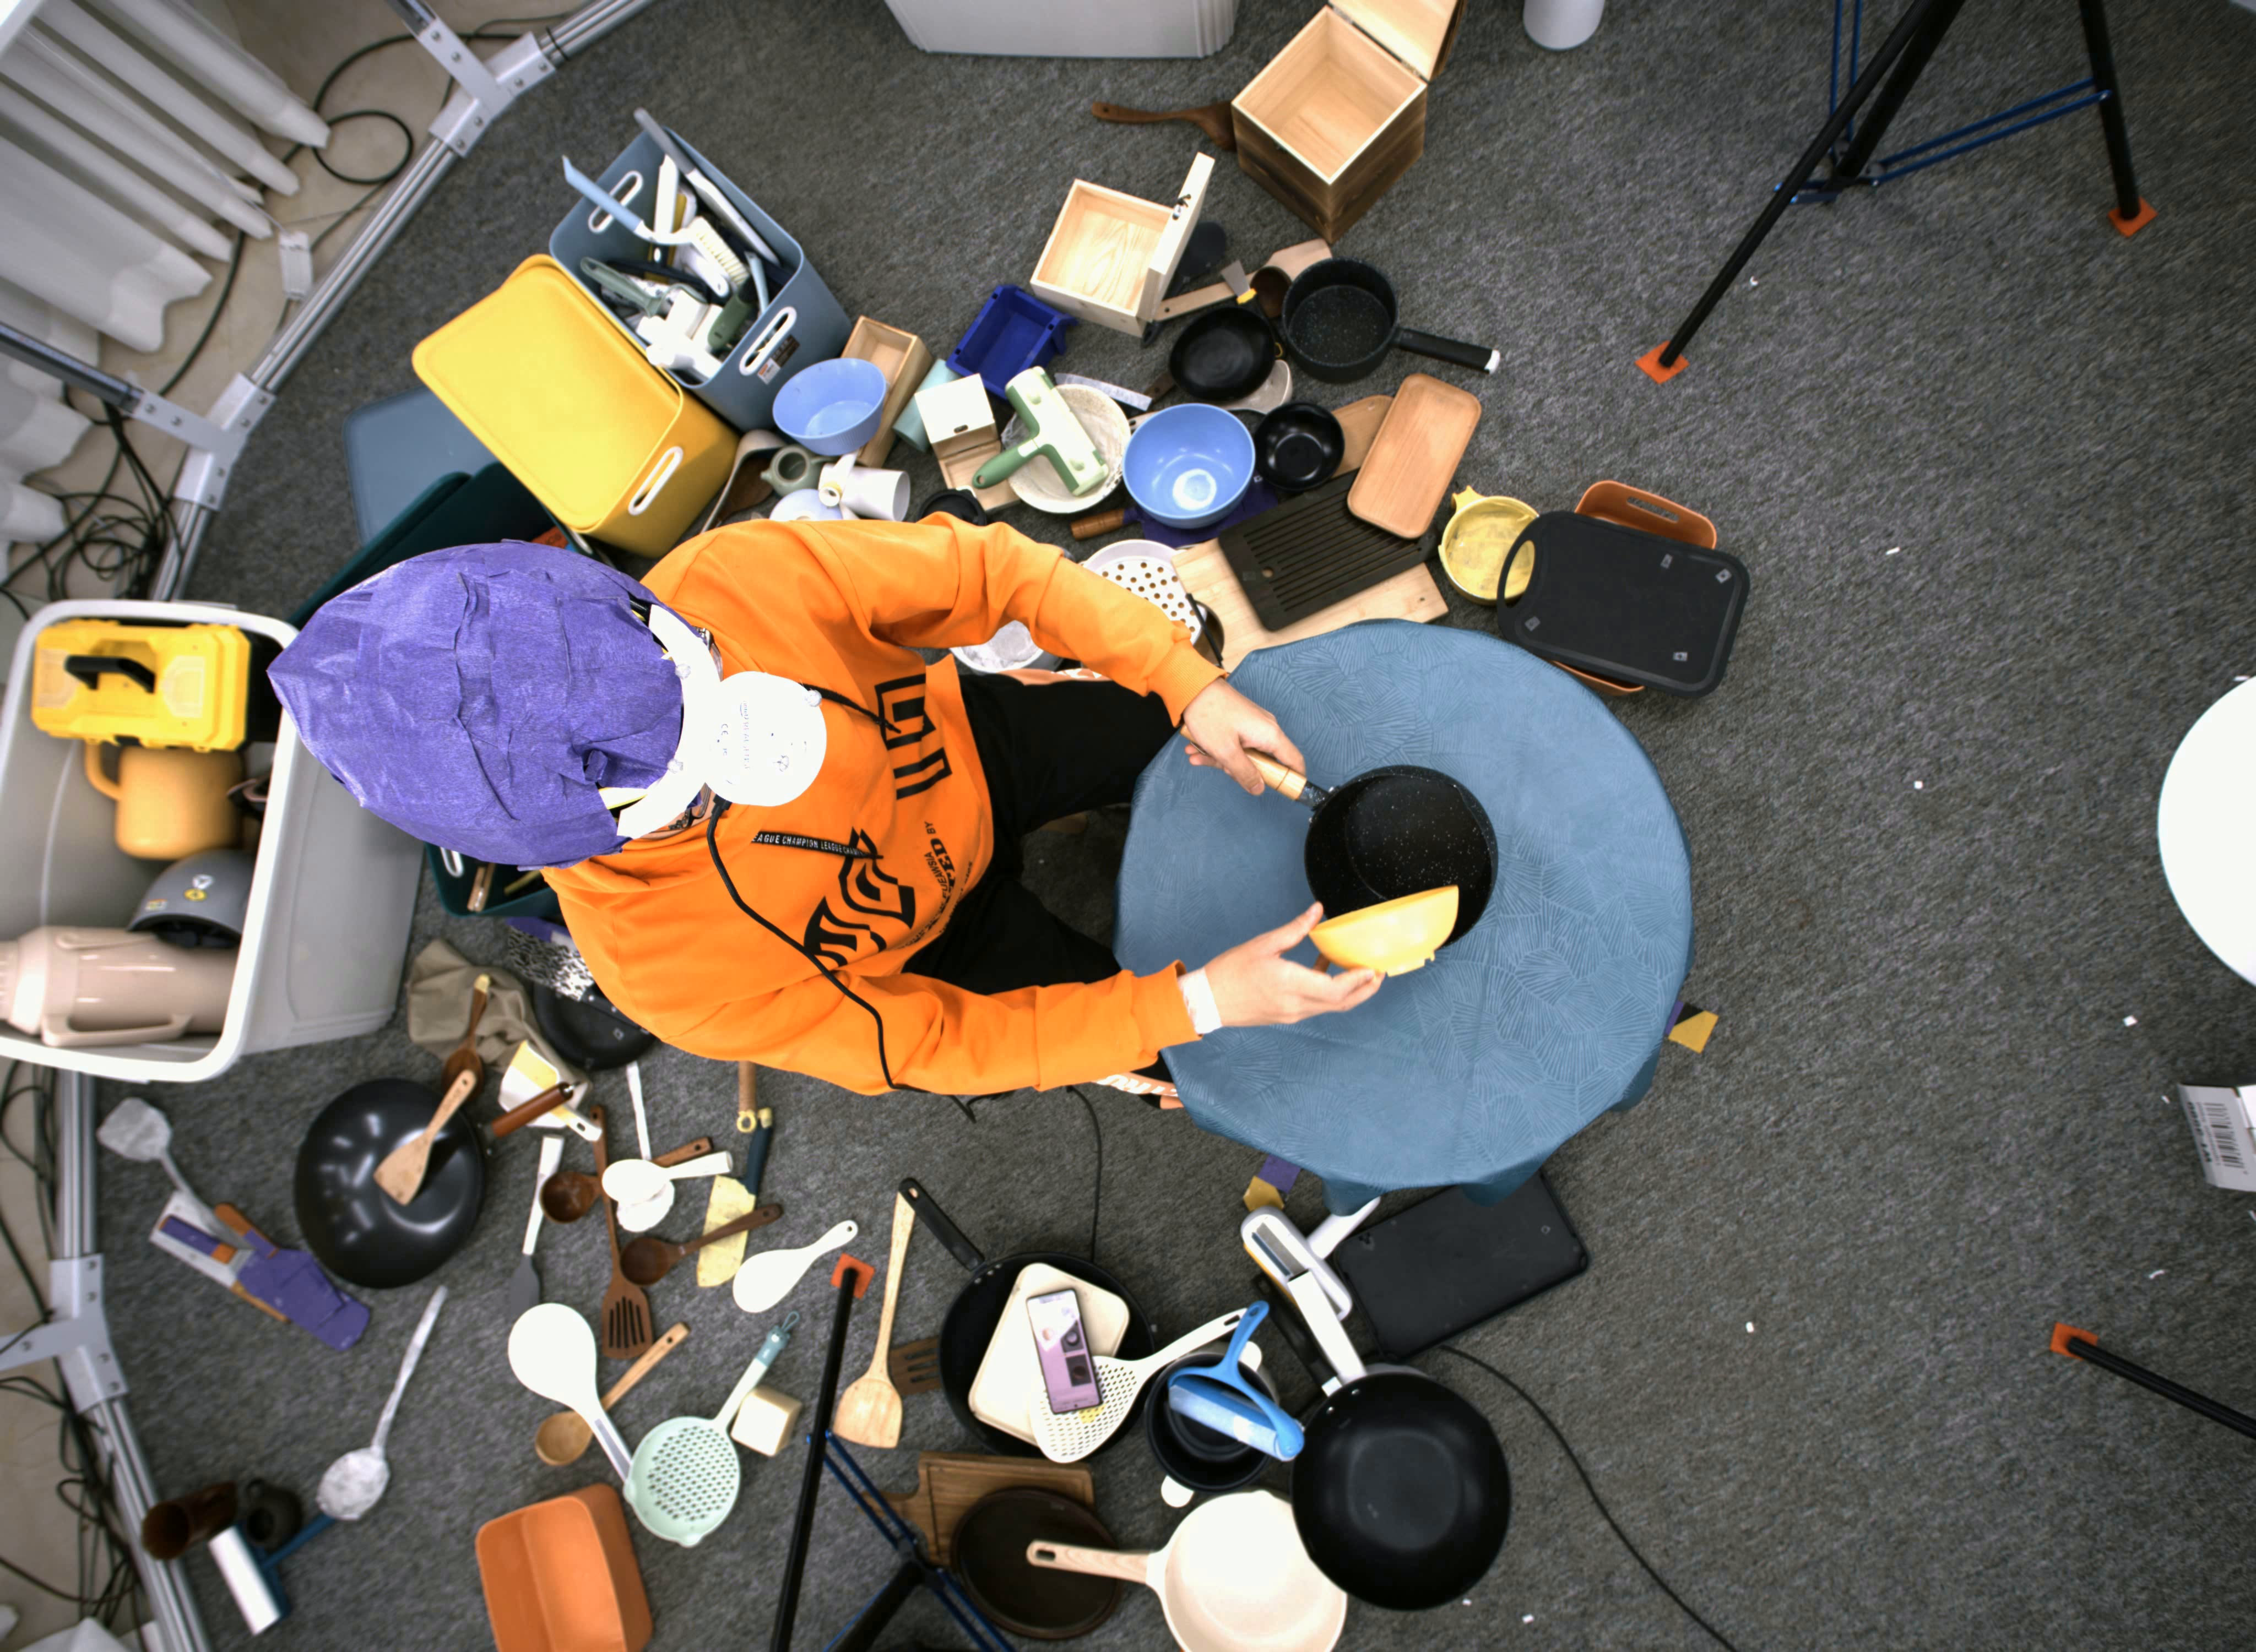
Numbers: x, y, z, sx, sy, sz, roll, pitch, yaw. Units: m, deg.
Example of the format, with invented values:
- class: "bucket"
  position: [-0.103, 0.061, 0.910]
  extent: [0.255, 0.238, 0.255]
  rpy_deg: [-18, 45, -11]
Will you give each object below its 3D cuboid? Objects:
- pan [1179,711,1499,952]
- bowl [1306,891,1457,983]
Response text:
- class: "pan"
  position: [0.205, -0.017, 1.356]
  extent: [0.342, 0.106, 0.212]
  rpy_deg: [35, 121, 9]
- class: "bowl"
  position: [0.241, 0.106, 1.277]
  extent: [0.146, 0.145, 0.060]
  rpy_deg: [-17, 89, 8]
